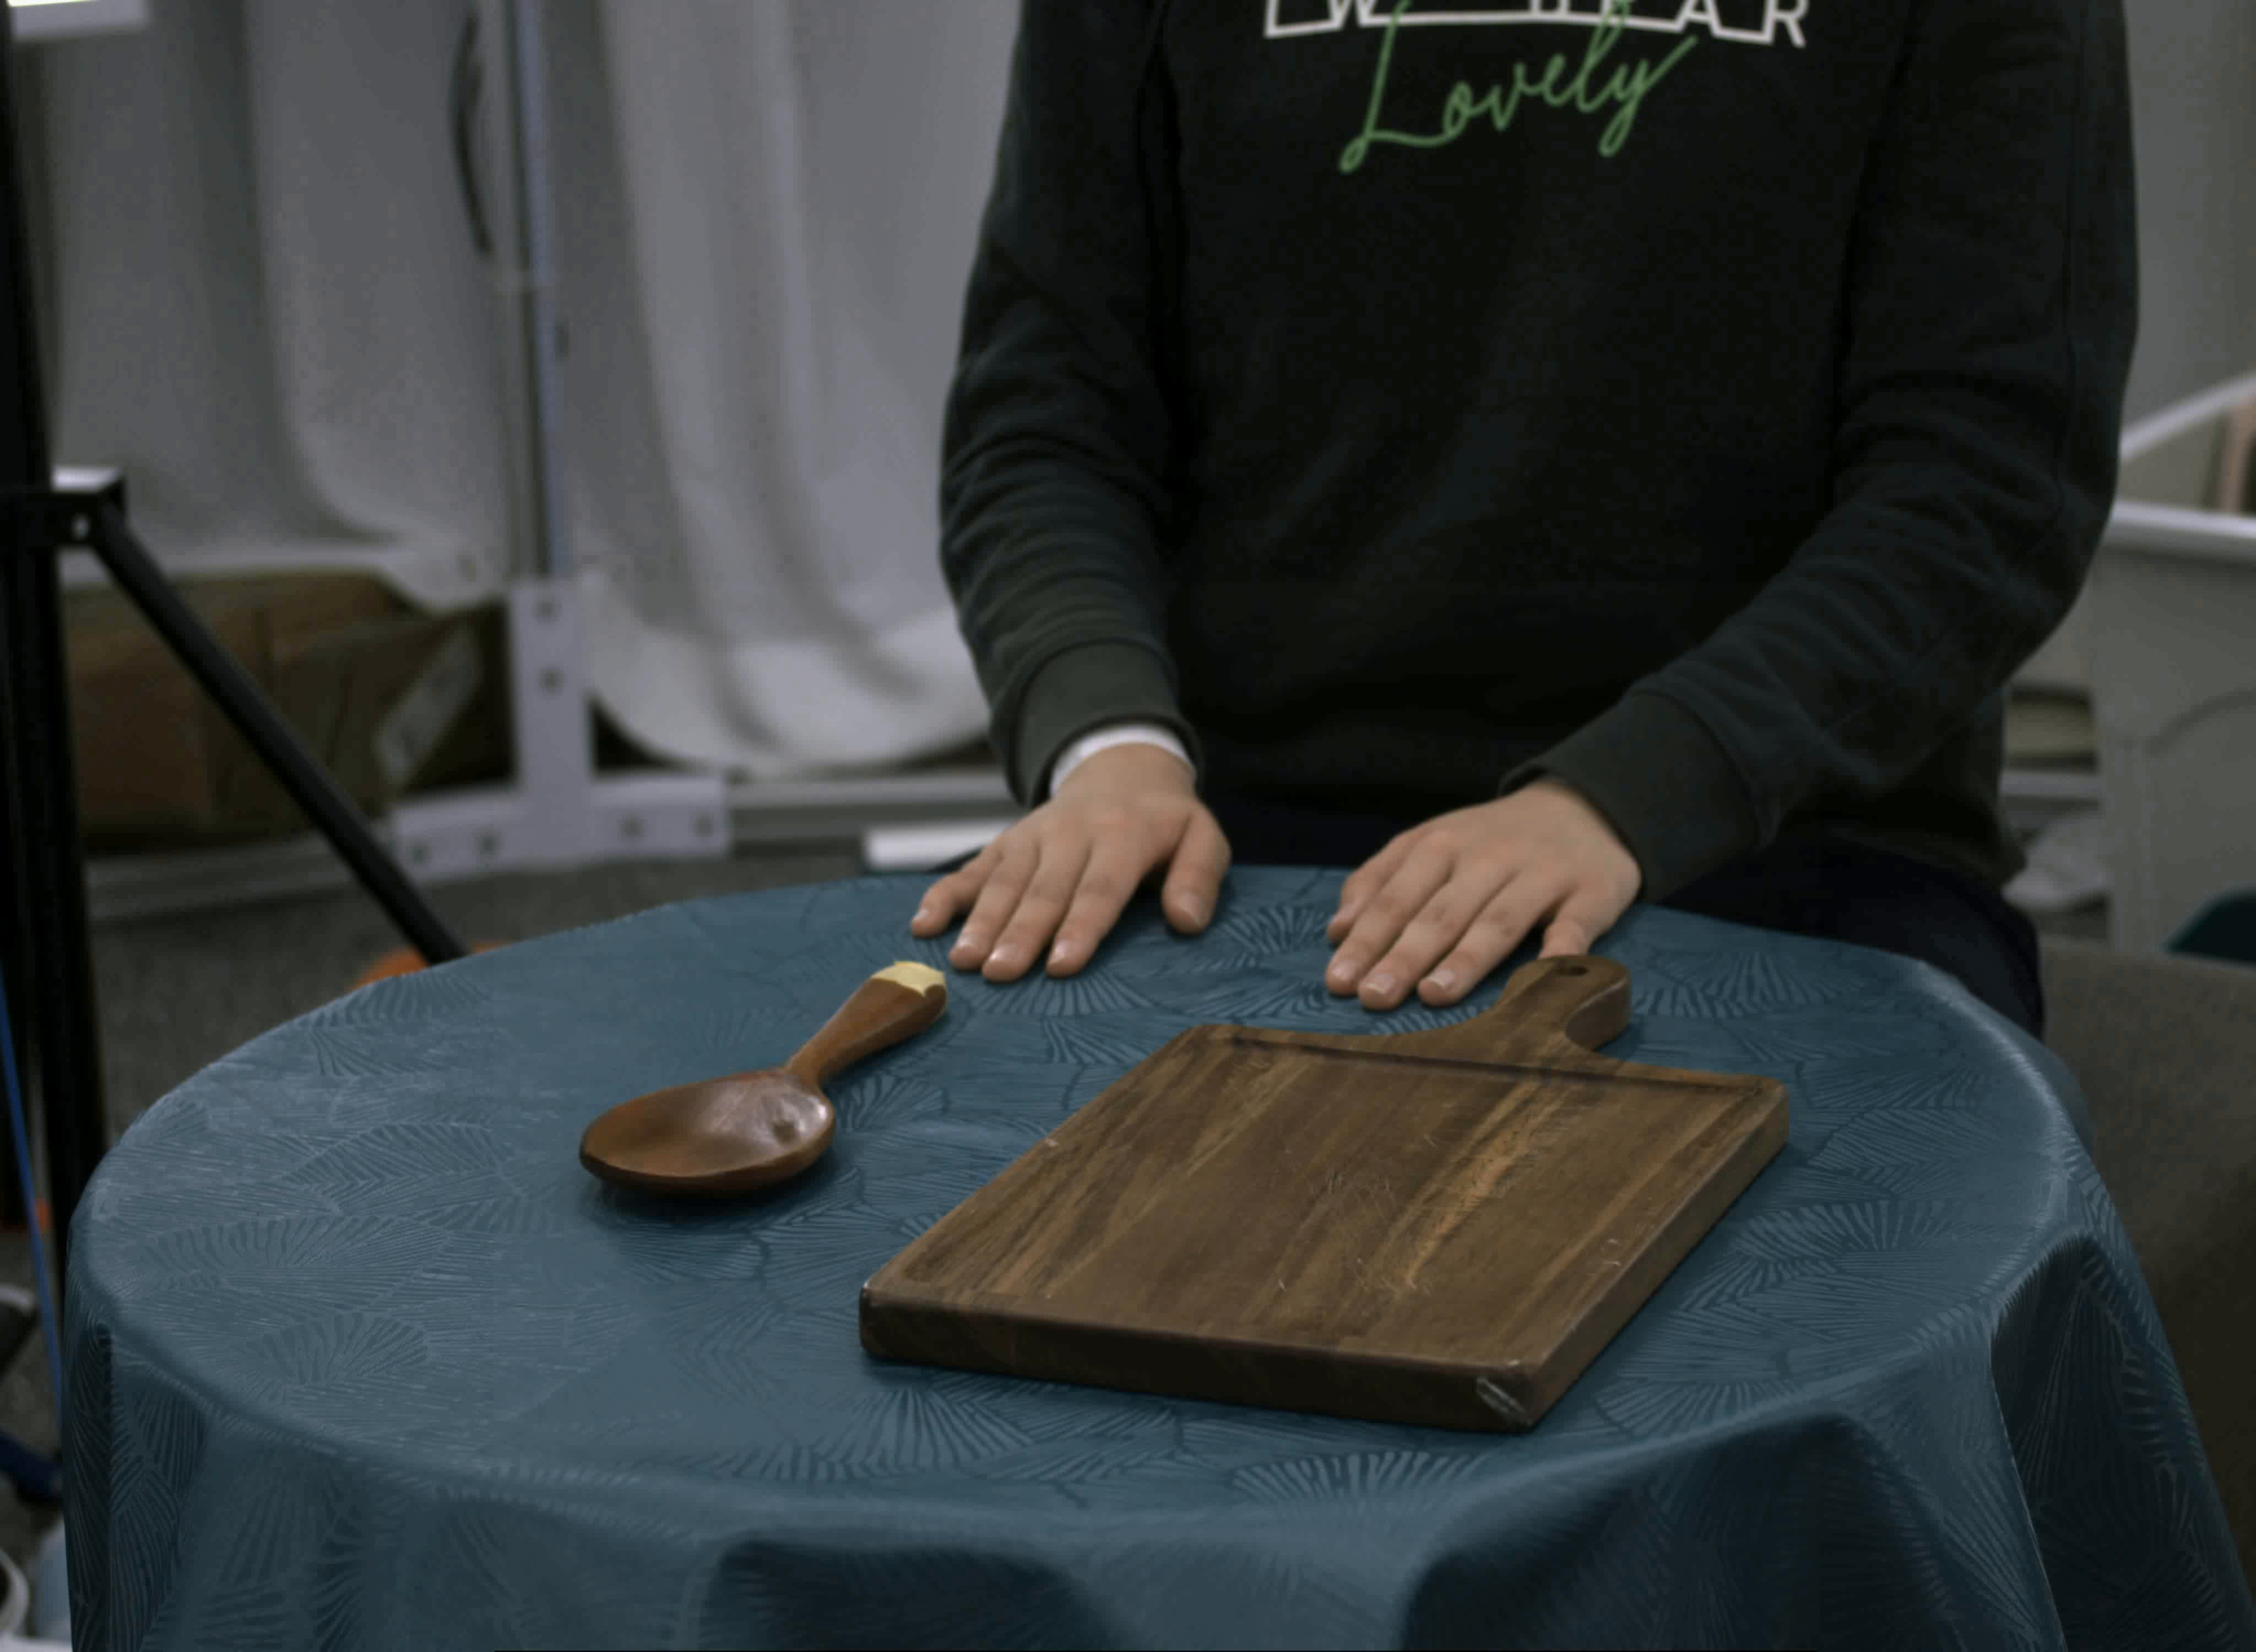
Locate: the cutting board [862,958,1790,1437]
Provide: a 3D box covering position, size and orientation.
[{"bbox_3d":[0.081,0.098,1.547,0.204,0.023,0.347,3,17,23],"label":"cutting board"}]

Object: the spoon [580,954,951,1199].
[{"bbox_3d":[-0.102,0.079,1.646,0.076,0.017,0.213,1,17,21],"label":"spoon"}]
